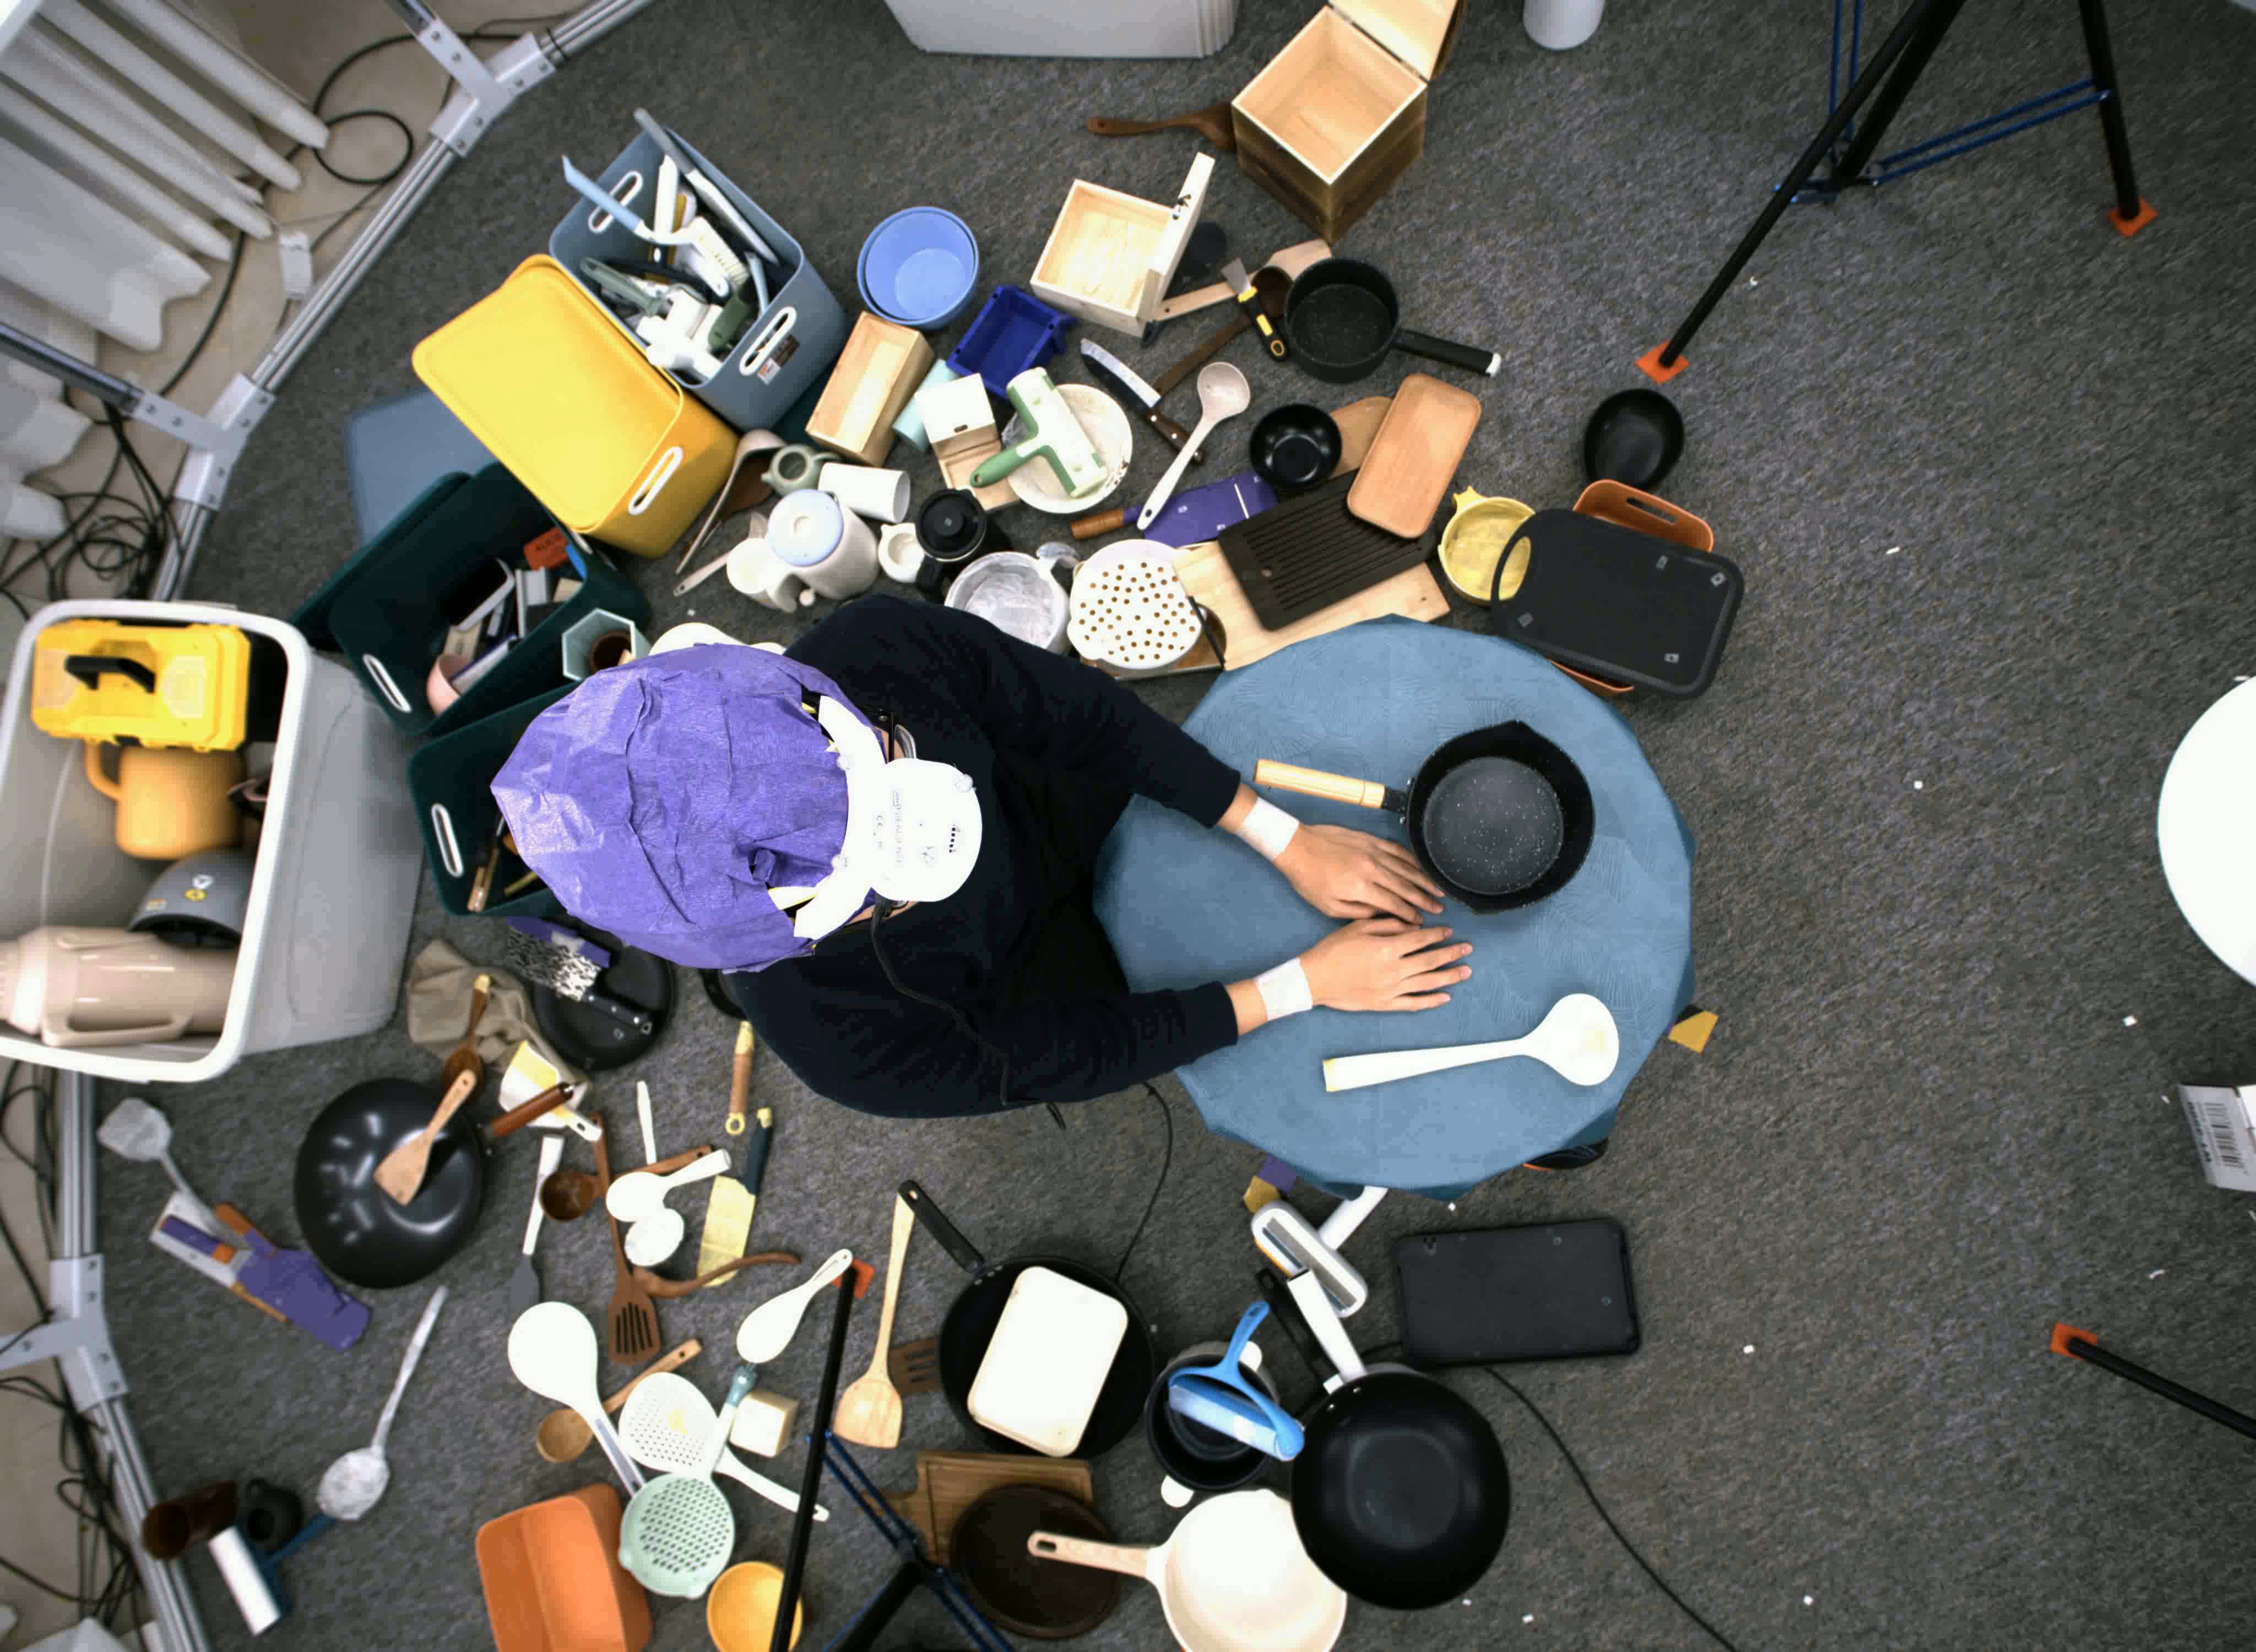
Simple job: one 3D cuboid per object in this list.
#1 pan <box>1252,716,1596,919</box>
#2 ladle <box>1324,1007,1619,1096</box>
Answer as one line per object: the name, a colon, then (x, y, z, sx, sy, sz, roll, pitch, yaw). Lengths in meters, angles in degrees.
pan: (0.297, -0.020, 1.405, 0.343, 0.108, 0.207, 10, 89, 10)
ladle: (0.345, 0.238, 1.404, 0.294, 0.069, 0.090, -8, 90, 11)
